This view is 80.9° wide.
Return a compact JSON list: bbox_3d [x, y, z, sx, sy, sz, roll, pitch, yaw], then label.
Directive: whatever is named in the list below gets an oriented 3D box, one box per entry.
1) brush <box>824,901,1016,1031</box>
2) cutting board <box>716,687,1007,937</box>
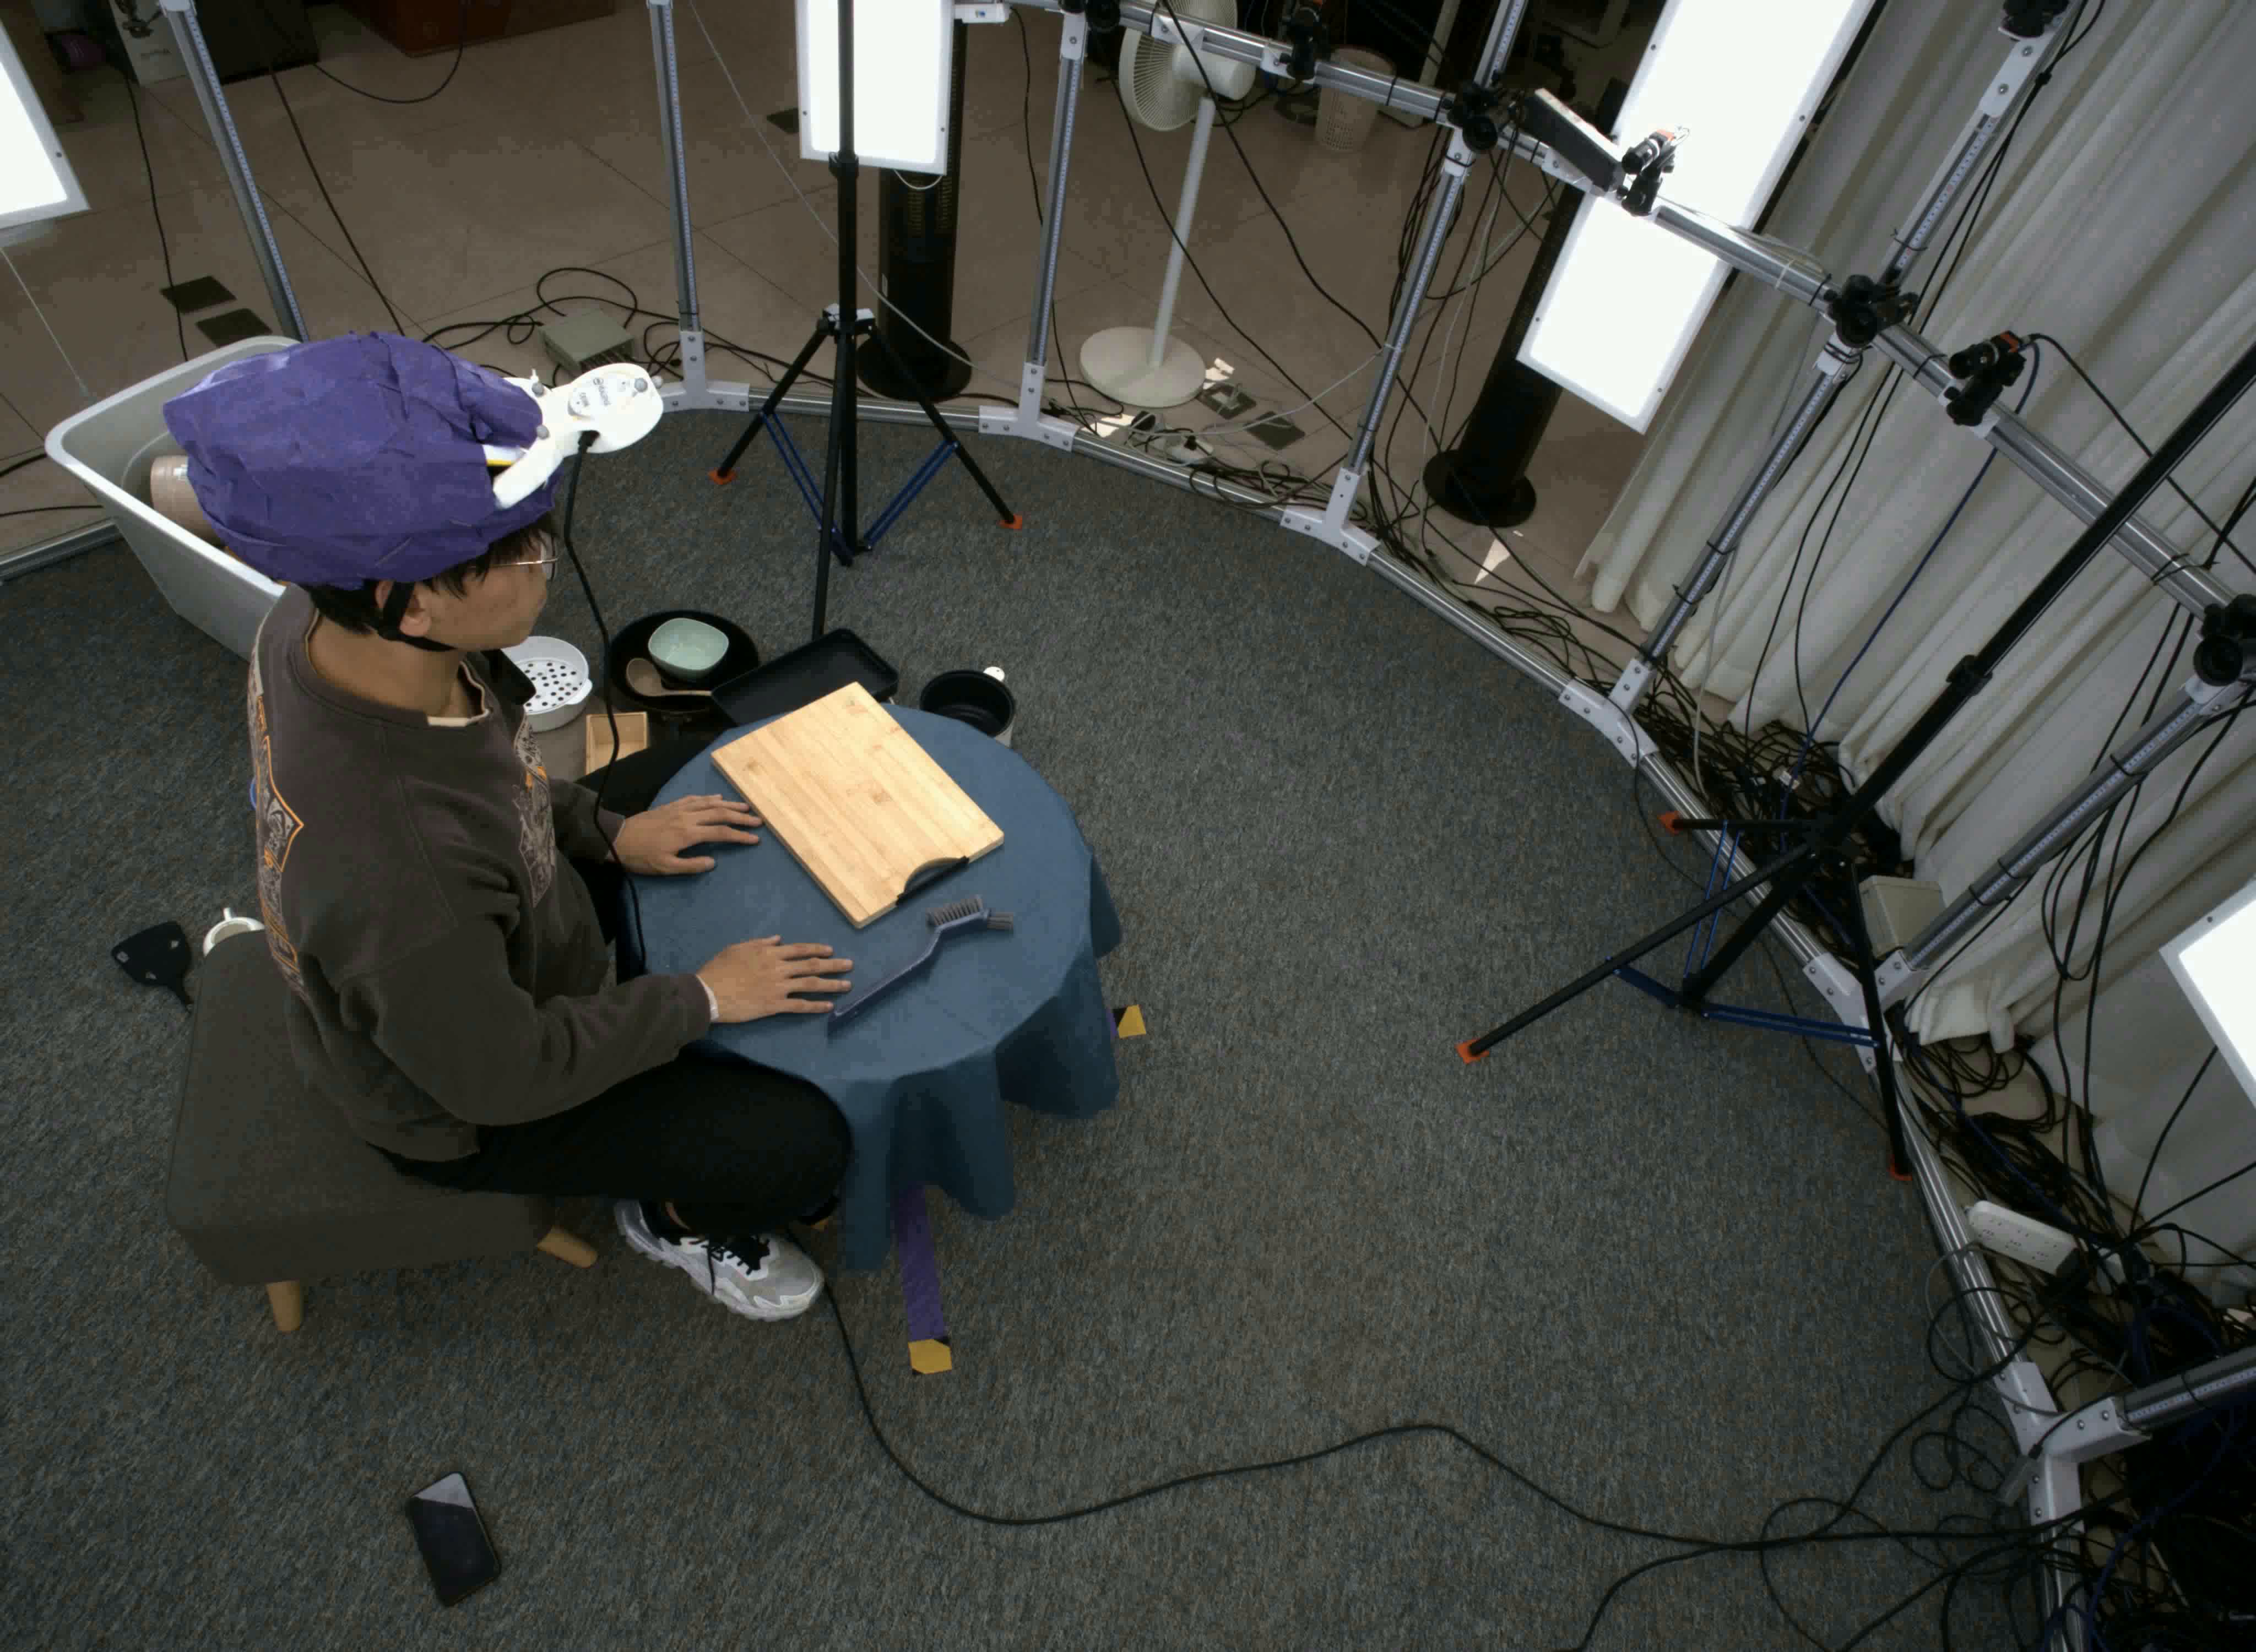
[{"bbox_3d":[-0.260,0.177,1.628,0.094,0.034,0.273,37,53,14],"label":"brush"},{"bbox_3d":[-0.363,-0.033,1.767,0.251,0.024,0.340,-35,68,-31],"label":"cutting board"}]
